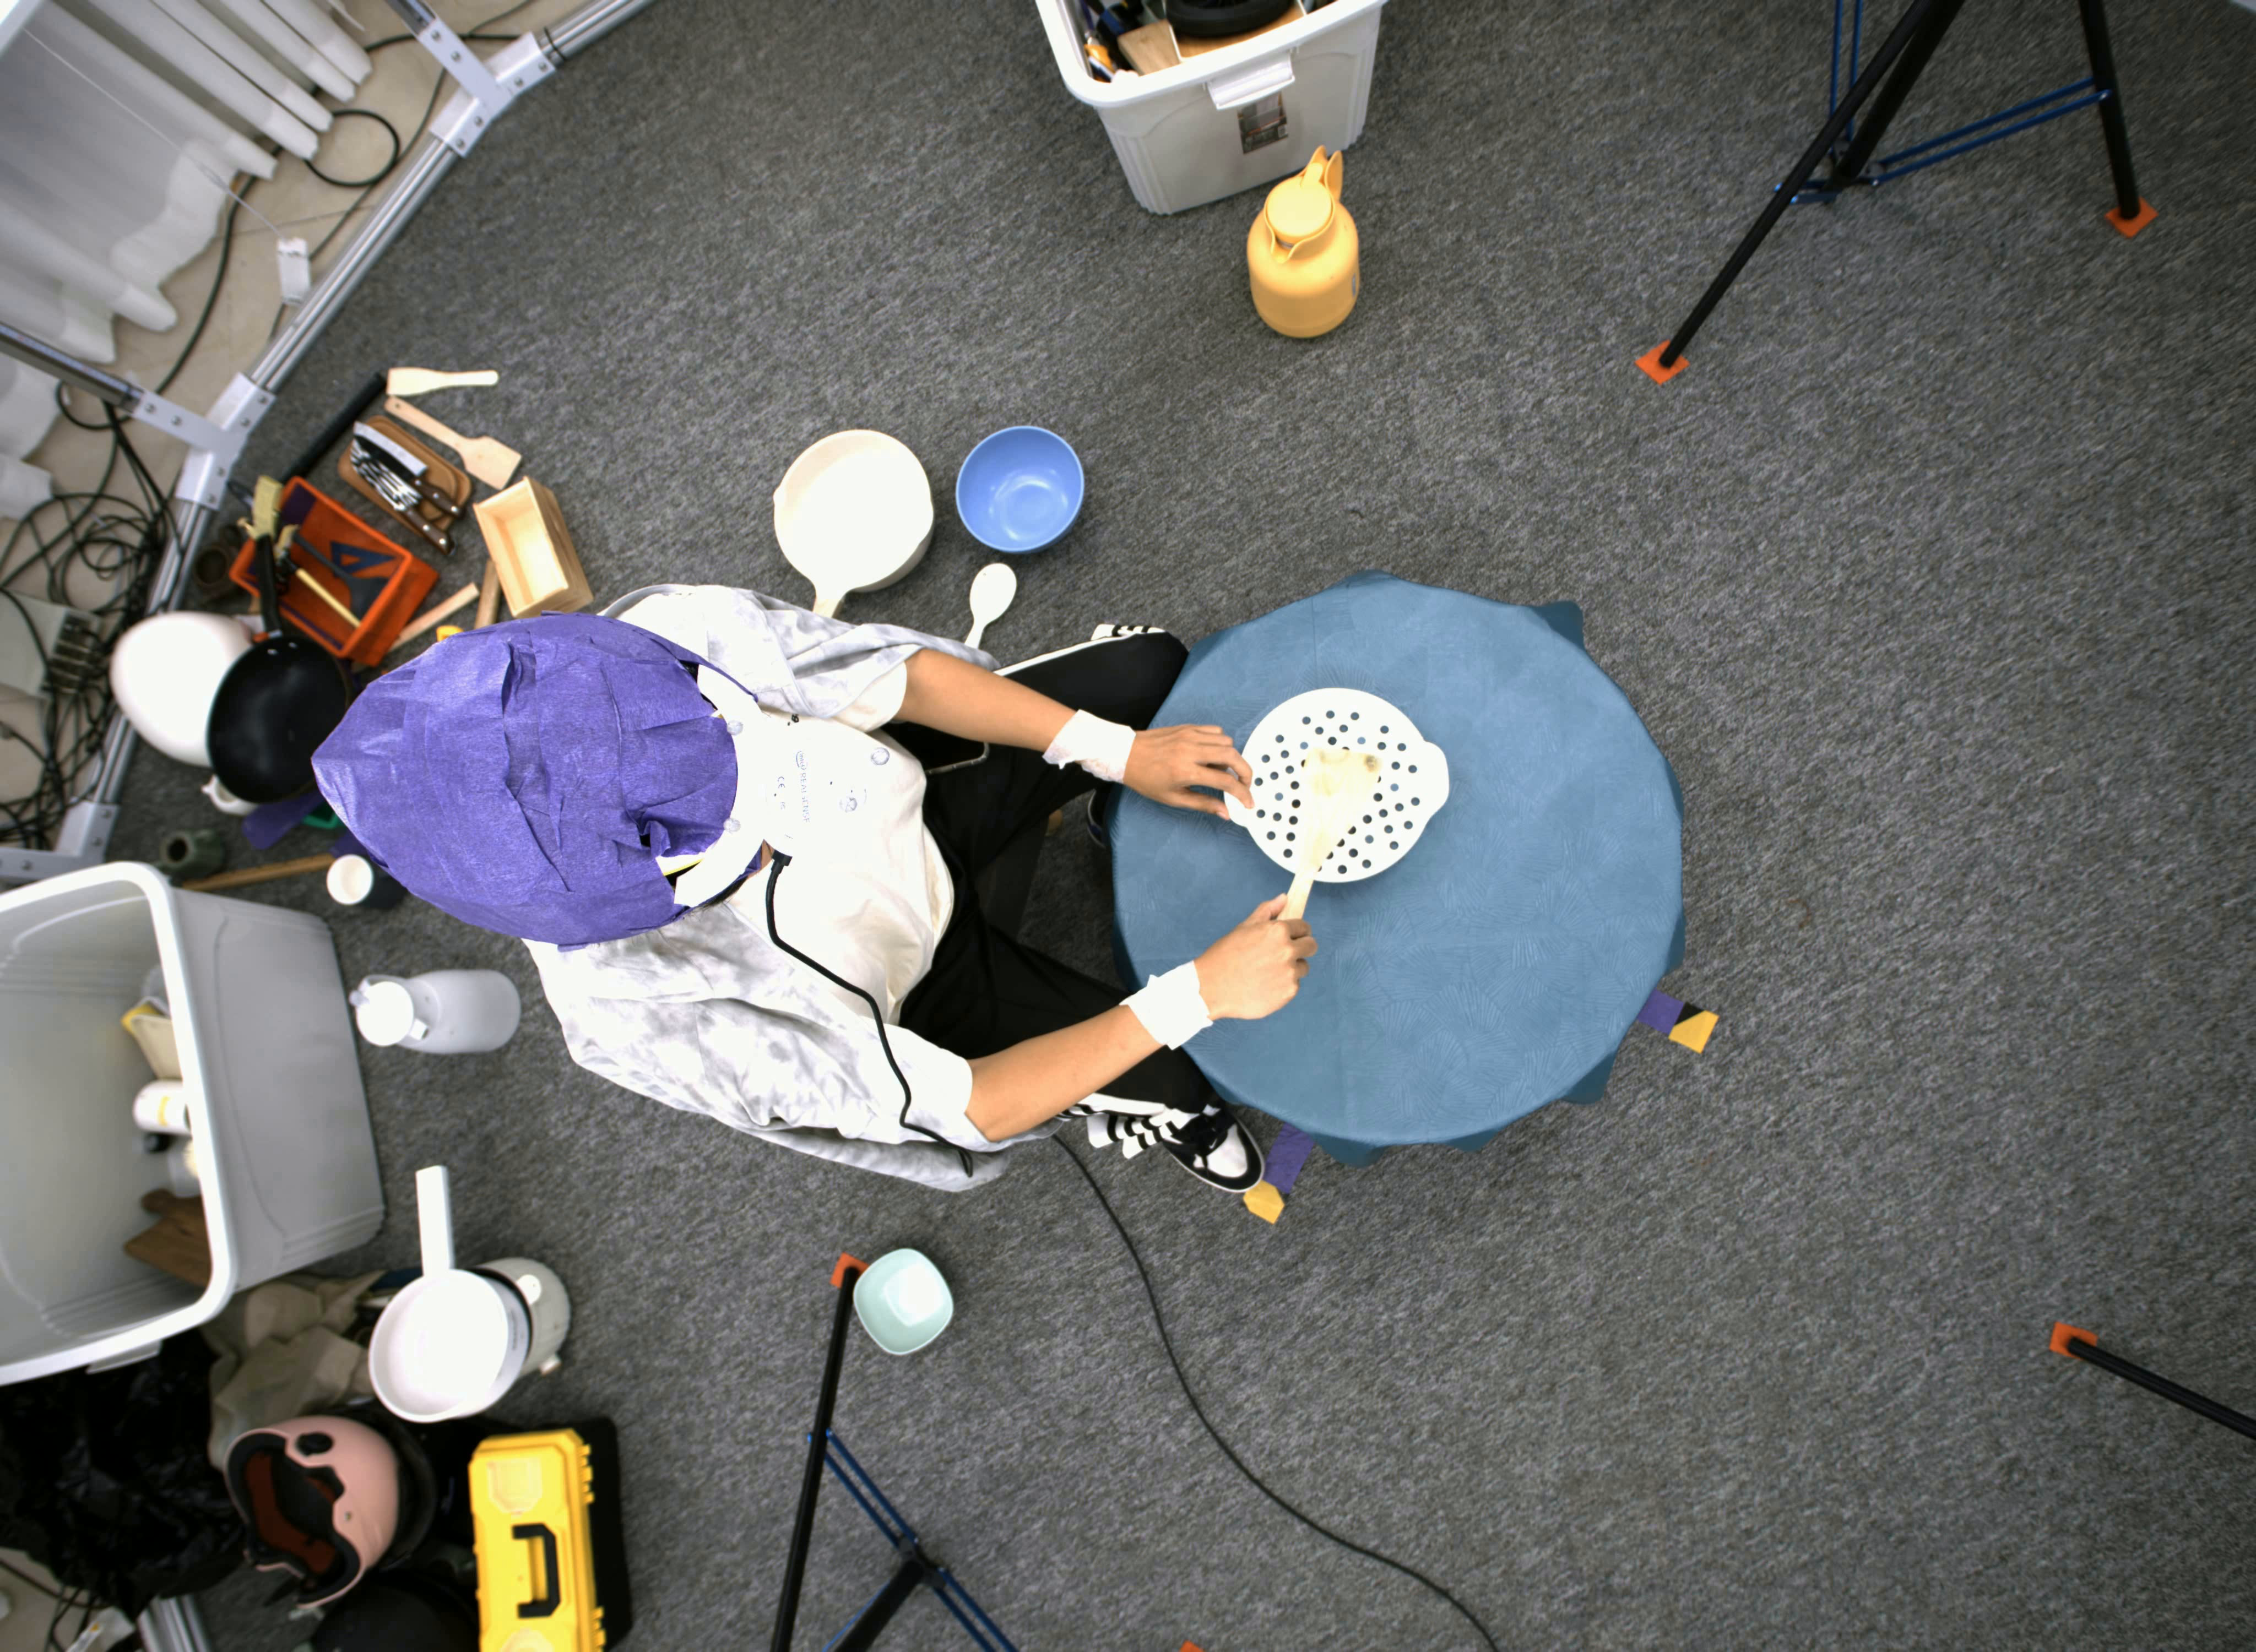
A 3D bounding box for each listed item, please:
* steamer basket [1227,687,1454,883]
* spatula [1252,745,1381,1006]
[{"bbox_3d":[0.221,-0.041,1.440,0.231,0.069,0.200,-4,85,11],"label":"steamer basket"},{"bbox_3d":[0.178,0.040,1.374,0.080,0.017,0.319,19,57,7],"label":"spatula"}]
